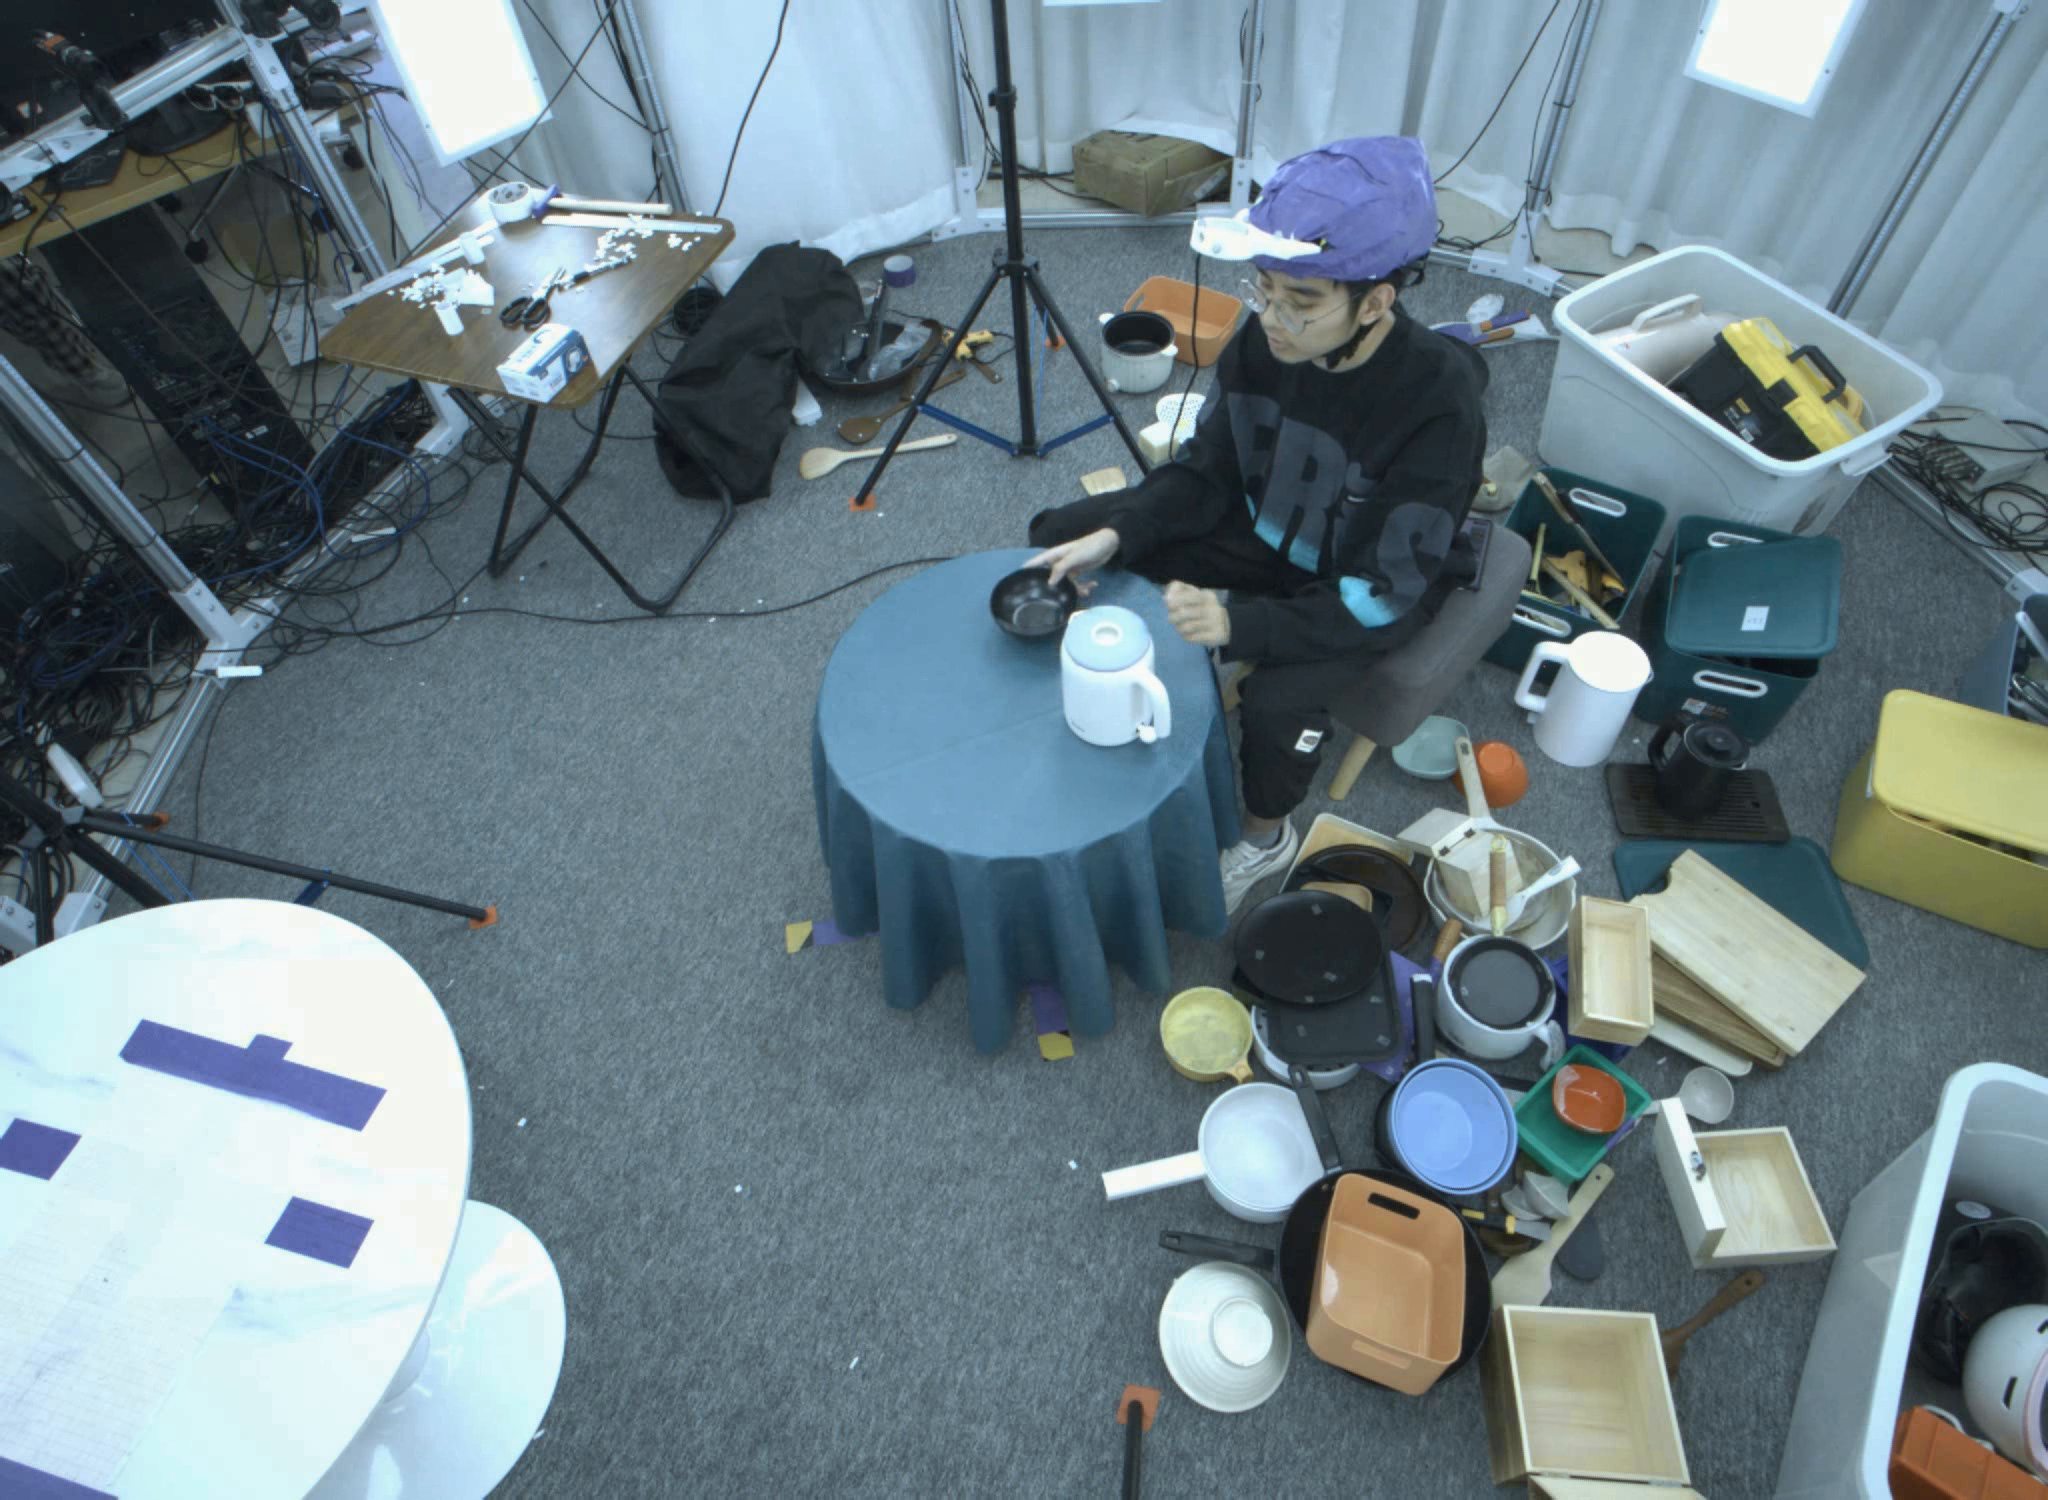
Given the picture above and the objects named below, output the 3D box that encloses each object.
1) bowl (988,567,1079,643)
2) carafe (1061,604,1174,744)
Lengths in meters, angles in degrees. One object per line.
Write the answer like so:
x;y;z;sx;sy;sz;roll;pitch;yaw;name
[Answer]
0.015;-0.214;1.883;0.140;0.050;0.138;0;56;2;bowl
0.136;-0.092;1.738;0.133;0.184;0.188;-40;64;-21;carafe
